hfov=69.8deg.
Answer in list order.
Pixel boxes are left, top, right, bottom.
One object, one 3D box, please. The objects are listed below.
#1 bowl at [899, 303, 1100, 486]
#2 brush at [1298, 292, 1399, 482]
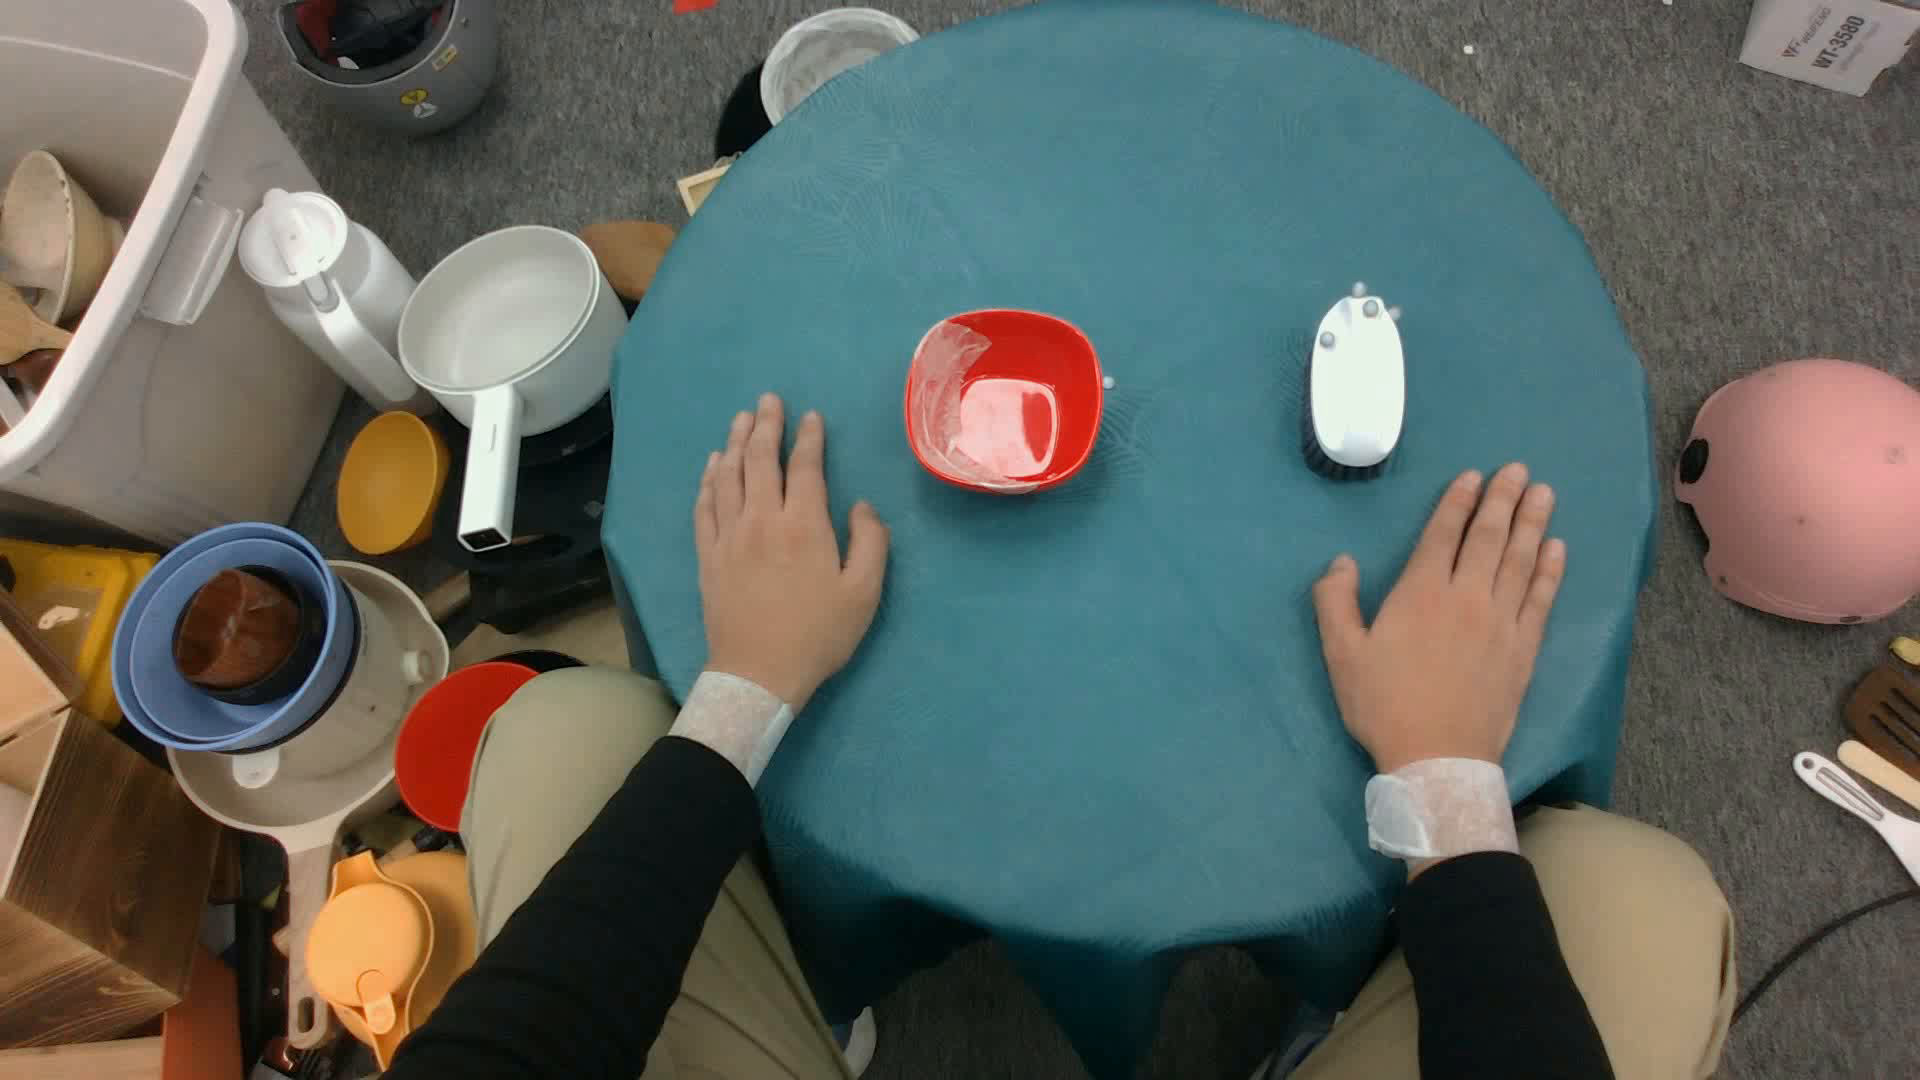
[{"bbox_3d":[0.022,-0.074,0.779,0.119,0.051,0.119,0,66,0],"label":"bowl"},{"bbox_3d":[0.219,-0.091,0.764,0.050,0.072,0.099,6,71,5],"label":"brush"}]
